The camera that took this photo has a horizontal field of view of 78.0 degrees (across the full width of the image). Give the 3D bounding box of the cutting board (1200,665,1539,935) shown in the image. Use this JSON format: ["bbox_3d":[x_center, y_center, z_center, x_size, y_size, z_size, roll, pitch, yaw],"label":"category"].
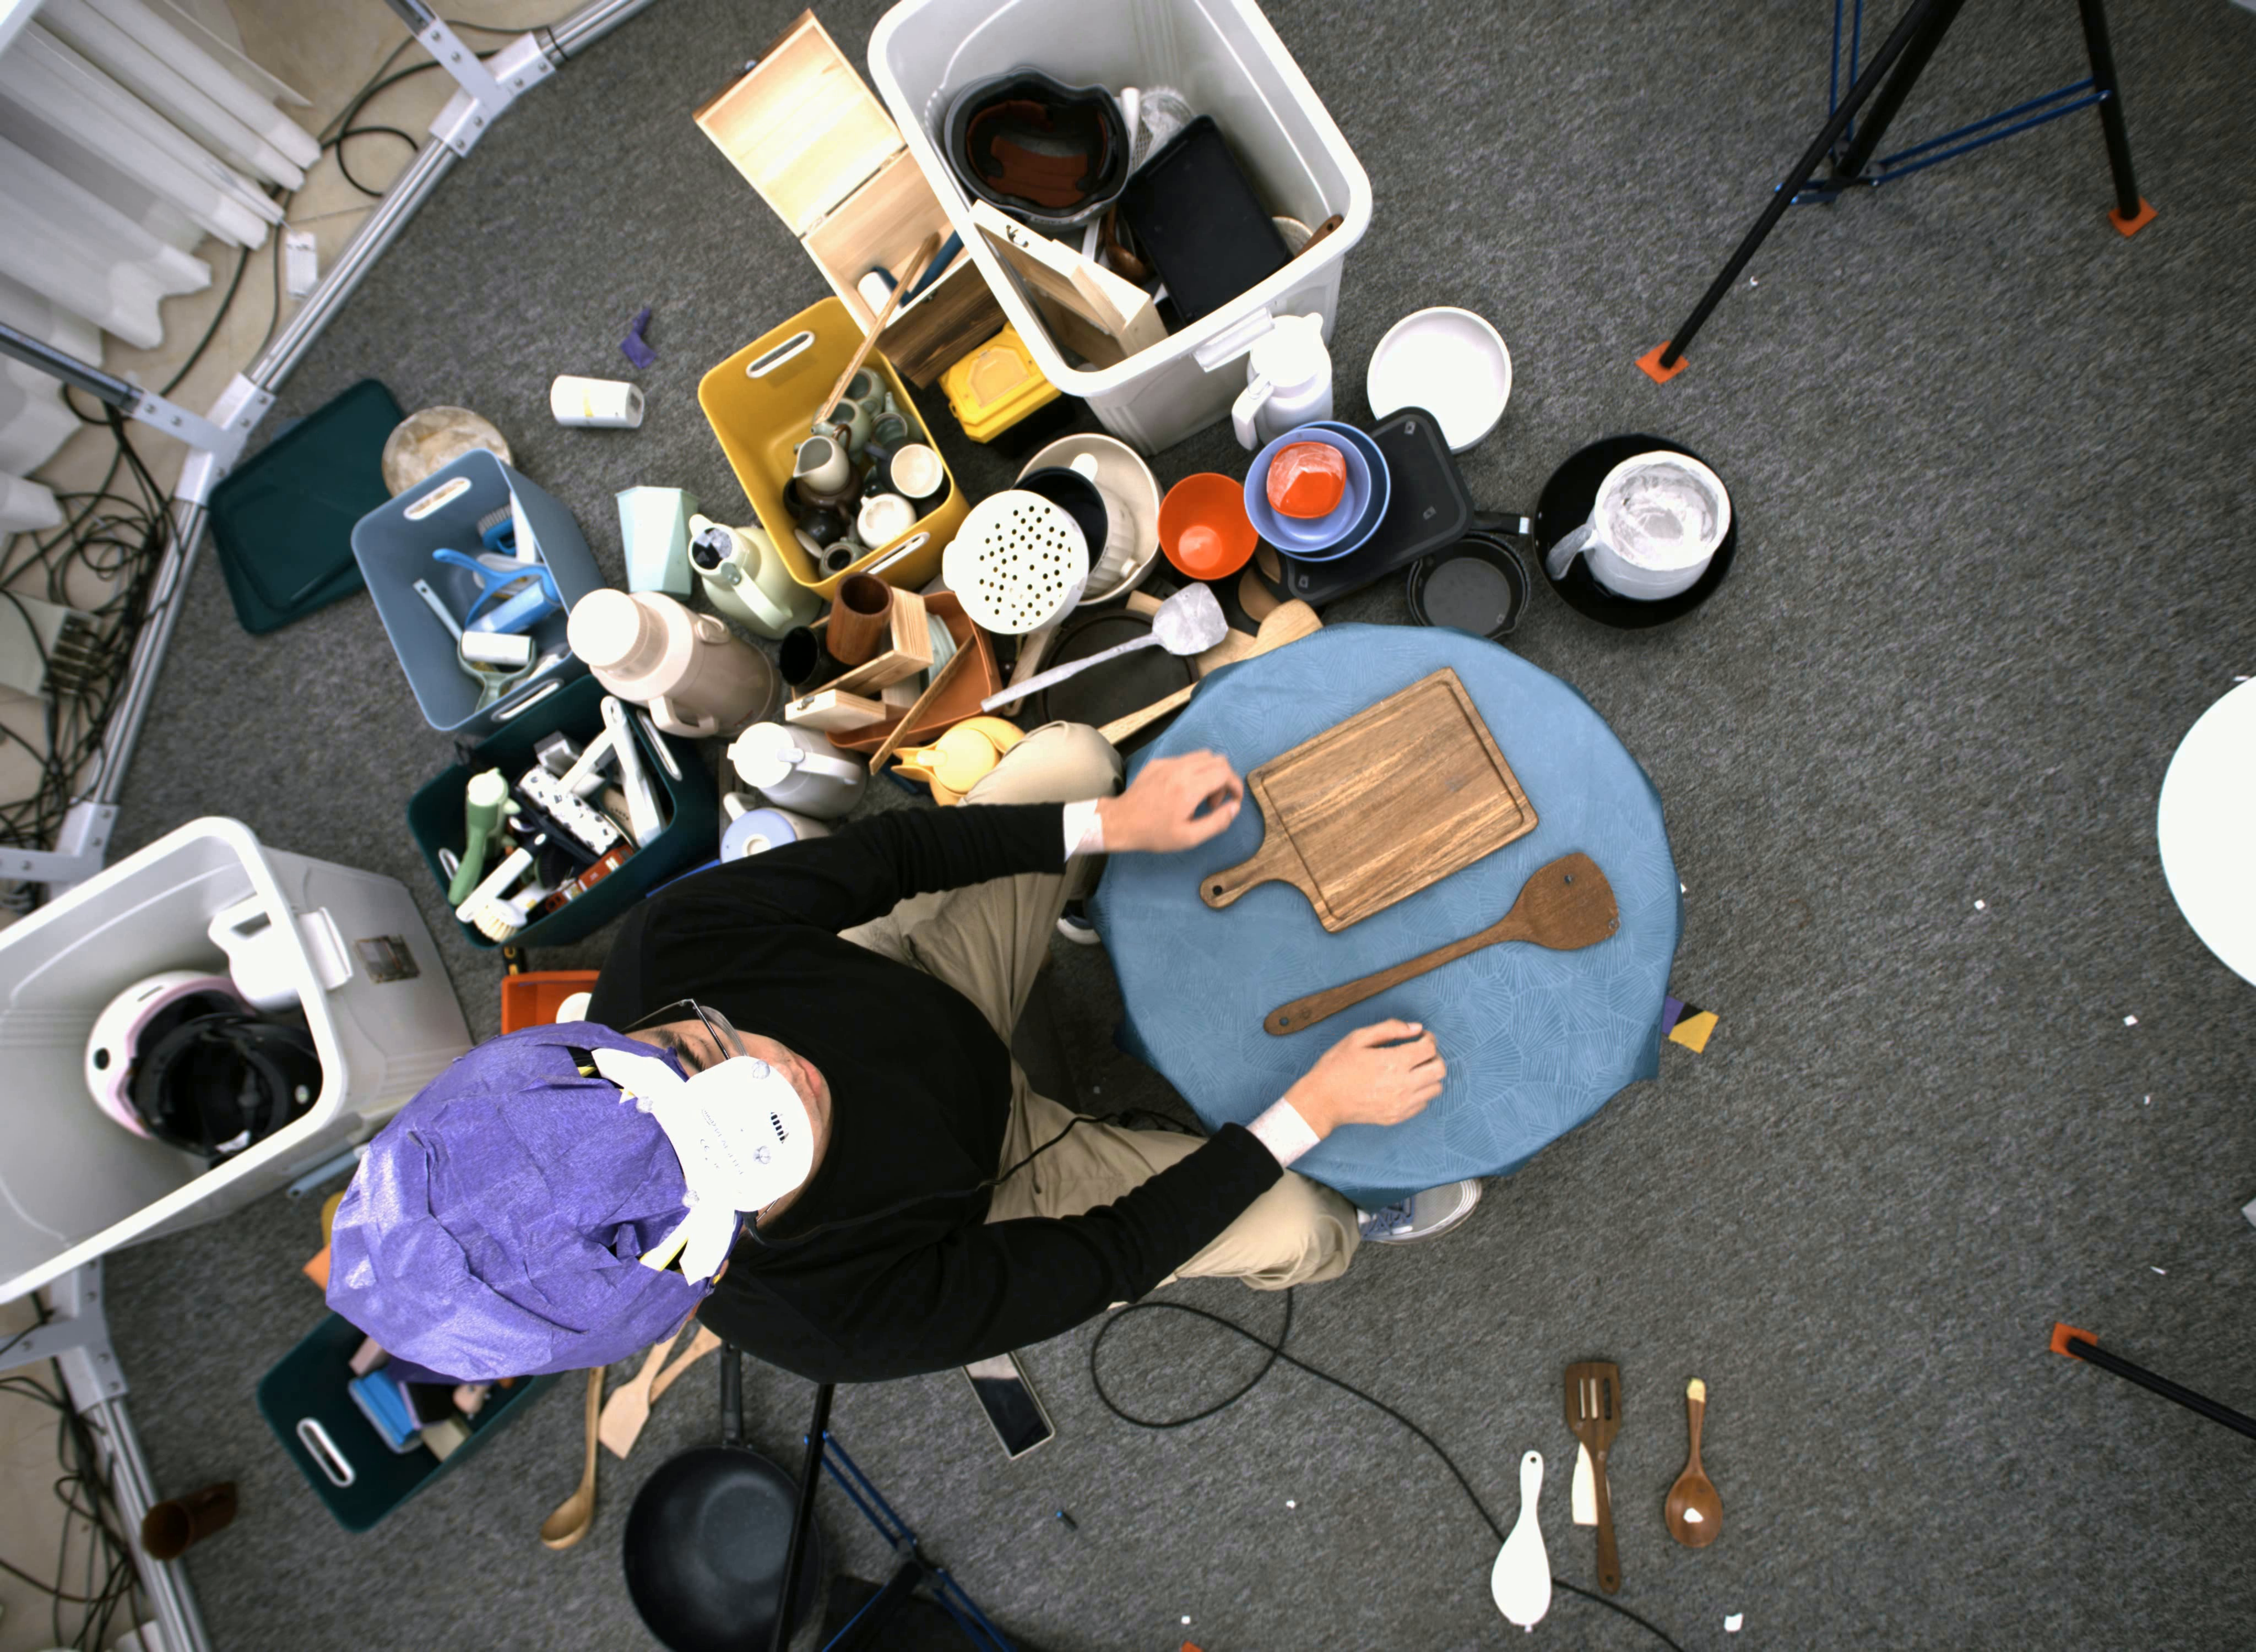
[{"bbox_3d":[0.232,-0.005,1.461,0.354,0.023,0.200,-29,82,8],"label":"cutting board"}]

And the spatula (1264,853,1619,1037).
[{"bbox_3d":[0.320,0.138,1.439,0.388,0.016,0.095,-24,82,8],"label":"spatula"}]
